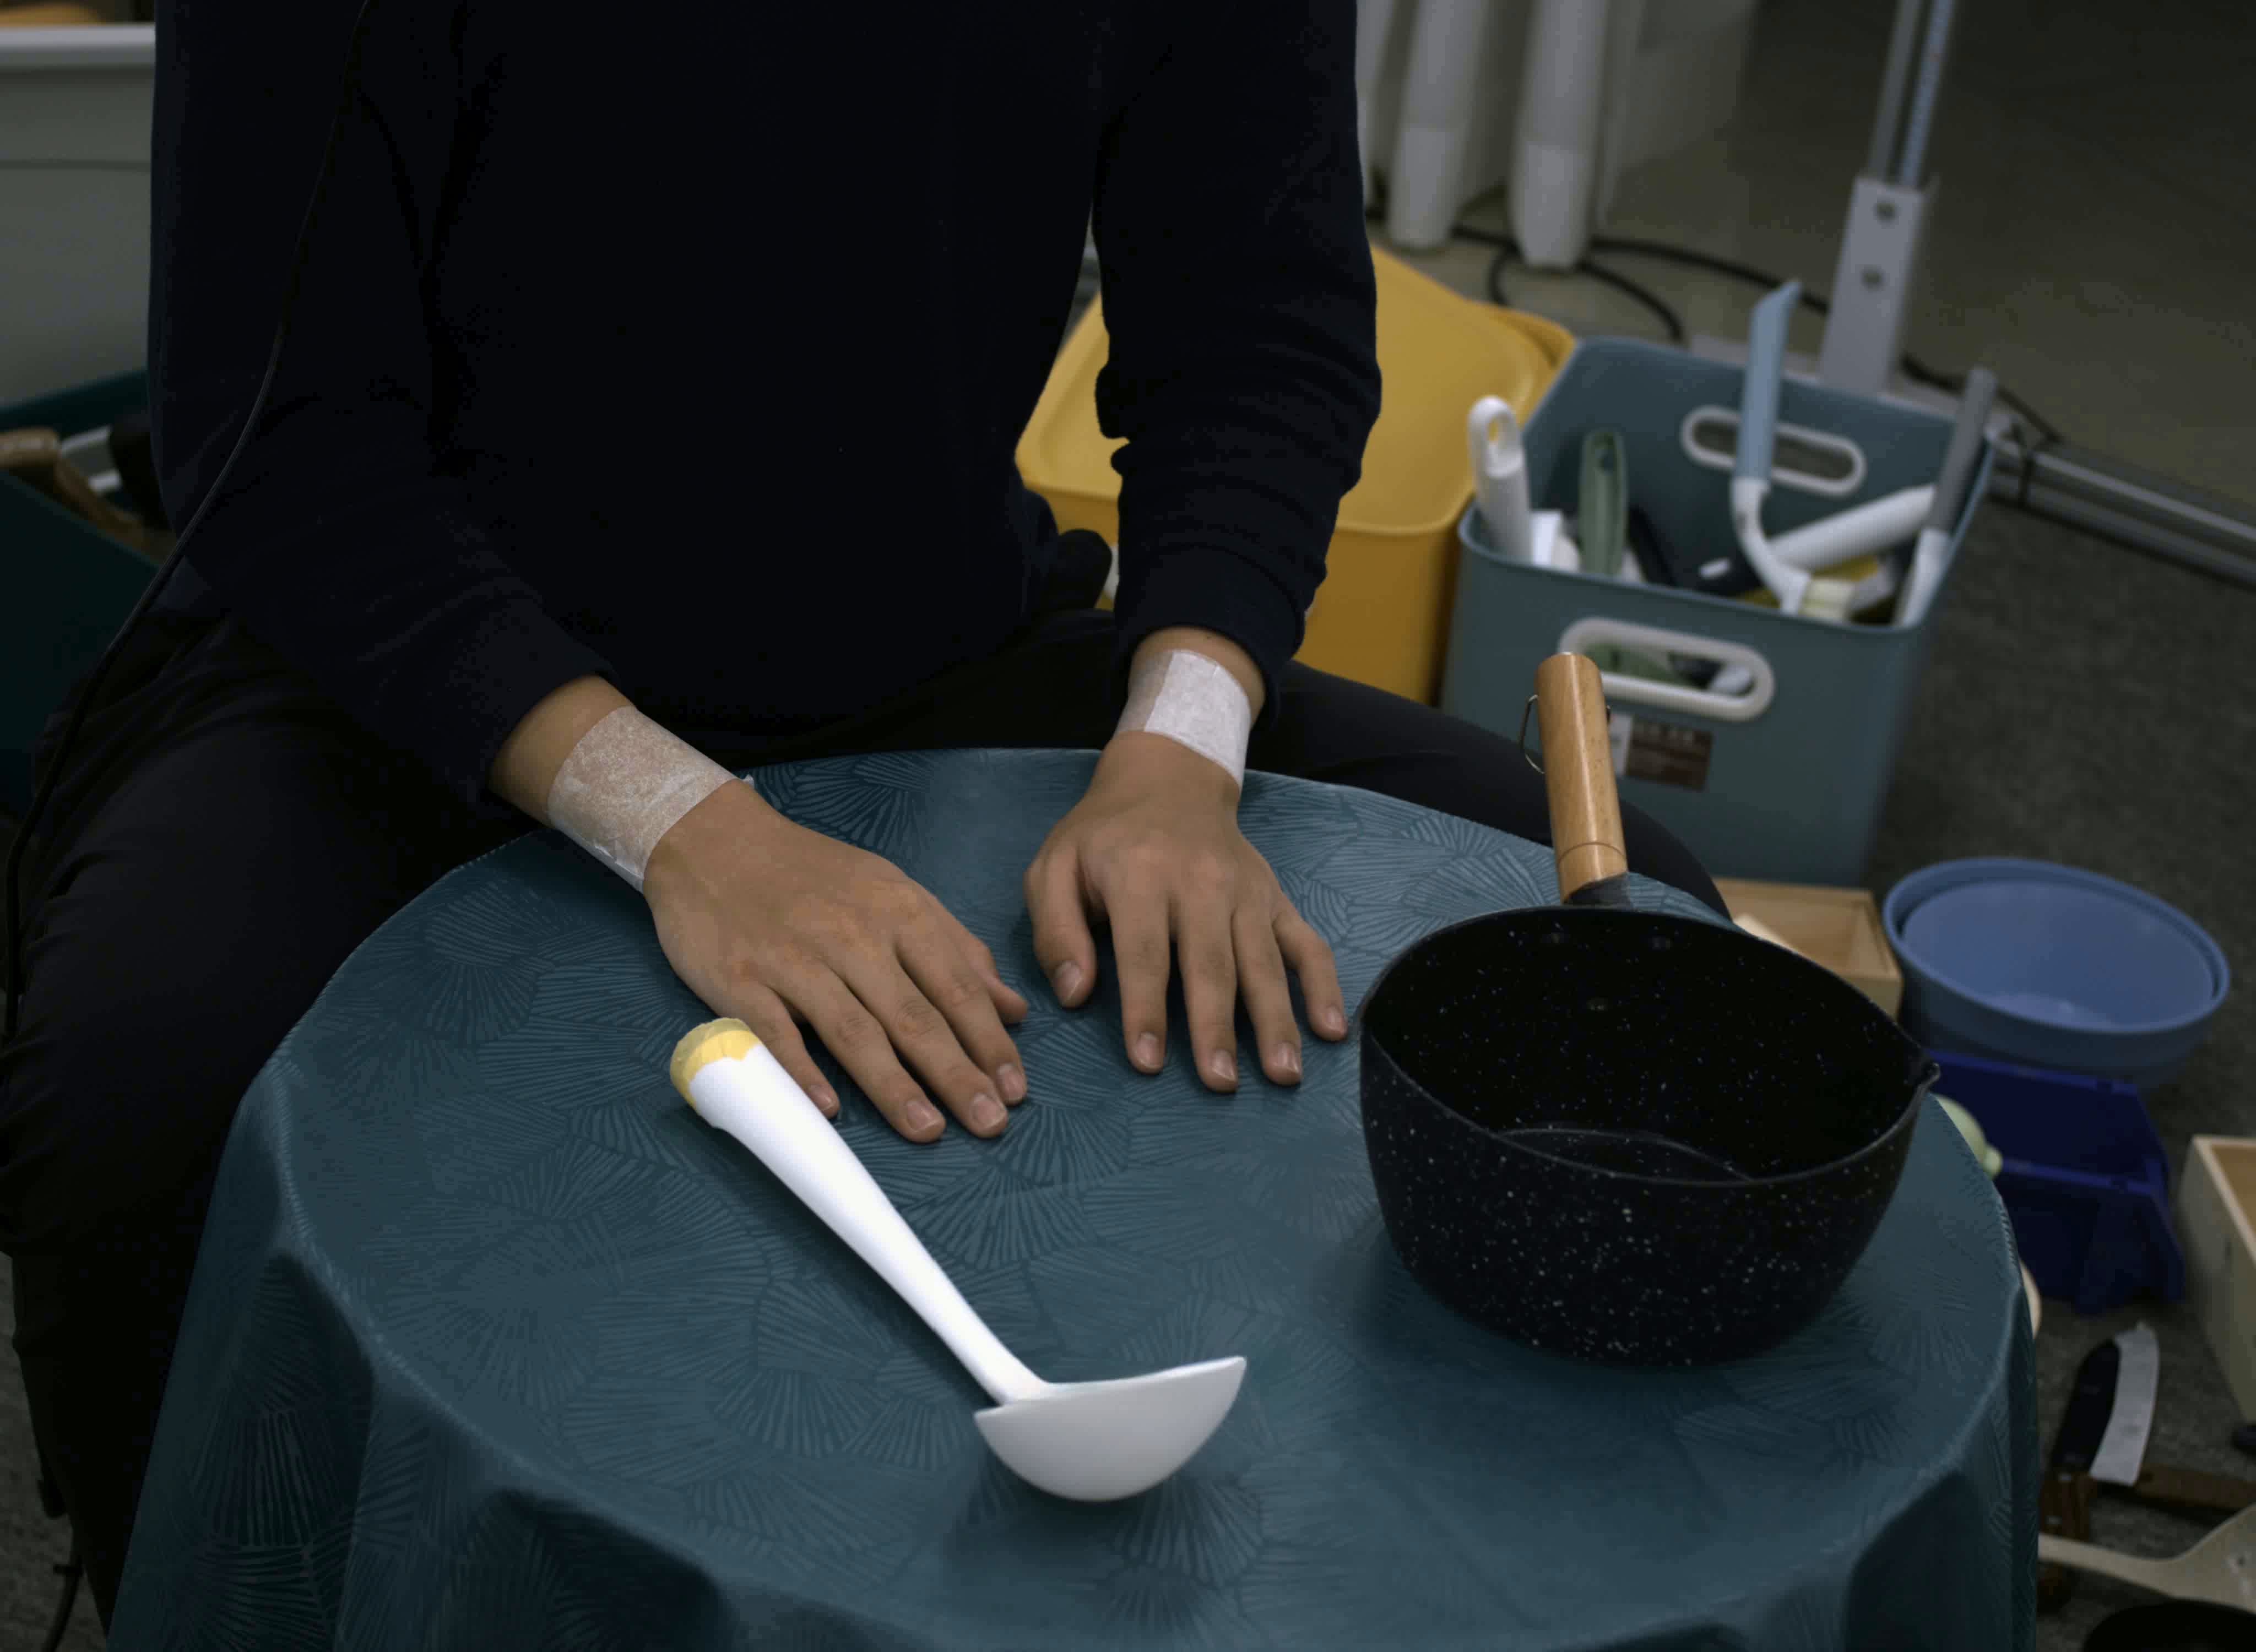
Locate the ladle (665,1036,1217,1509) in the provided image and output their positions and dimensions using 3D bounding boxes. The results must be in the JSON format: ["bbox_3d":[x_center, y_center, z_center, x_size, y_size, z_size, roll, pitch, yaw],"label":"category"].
[{"bbox_3d":[-0.072,0.131,1.703,0.089,0.069,0.295,-16,33,-25],"label":"ladle"}]

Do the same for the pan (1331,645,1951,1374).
[{"bbox_3d":[0.163,0.060,1.846,0.206,0.108,0.345,3,29,-5],"label":"pan"}]
